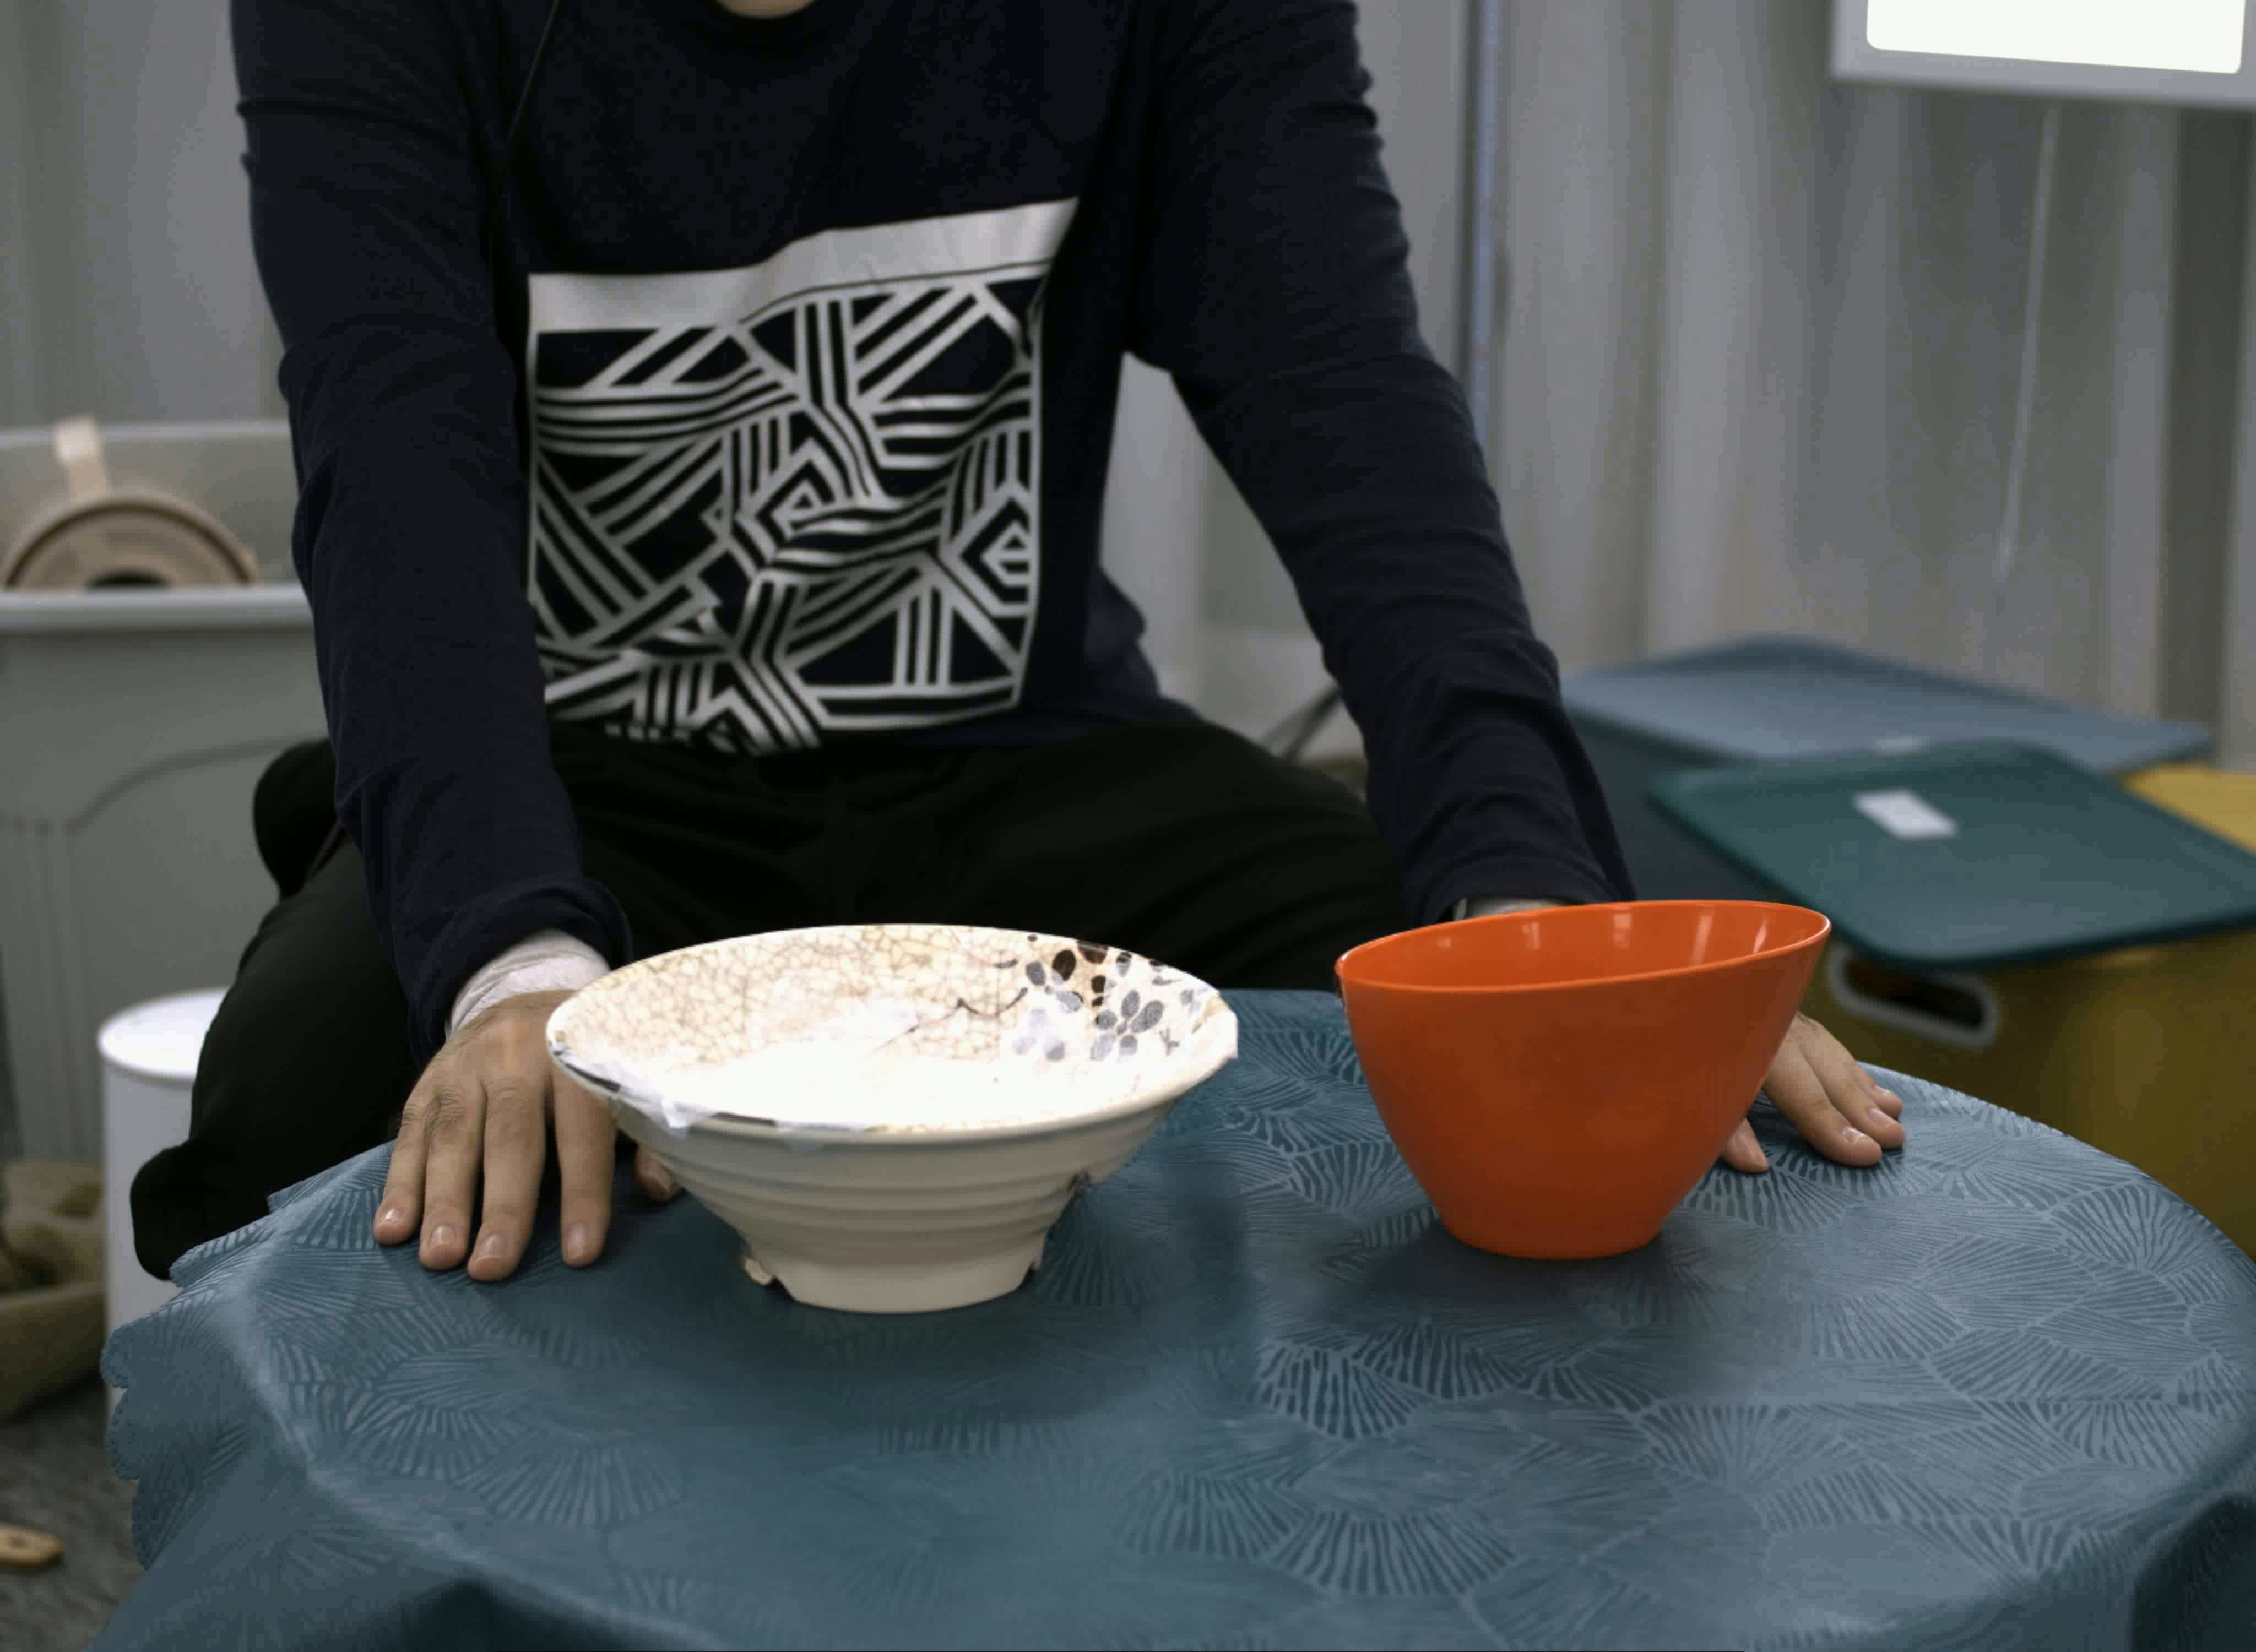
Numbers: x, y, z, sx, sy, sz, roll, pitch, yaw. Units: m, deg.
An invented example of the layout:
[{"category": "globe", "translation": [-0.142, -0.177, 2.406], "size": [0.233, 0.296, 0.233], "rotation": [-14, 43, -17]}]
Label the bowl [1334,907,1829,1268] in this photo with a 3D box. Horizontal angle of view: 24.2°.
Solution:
[{"category": "bowl", "translation": [0.134, 0.076, 1.576], "size": [0.147, 0.105, 0.147], "rotation": [0, 14, 1]}]

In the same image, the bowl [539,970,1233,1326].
[{"category": "bowl", "translation": [-0.071, 0.099, 1.546], "size": [0.203, 0.078, 0.203], "rotation": [1, 9, 0]}]
